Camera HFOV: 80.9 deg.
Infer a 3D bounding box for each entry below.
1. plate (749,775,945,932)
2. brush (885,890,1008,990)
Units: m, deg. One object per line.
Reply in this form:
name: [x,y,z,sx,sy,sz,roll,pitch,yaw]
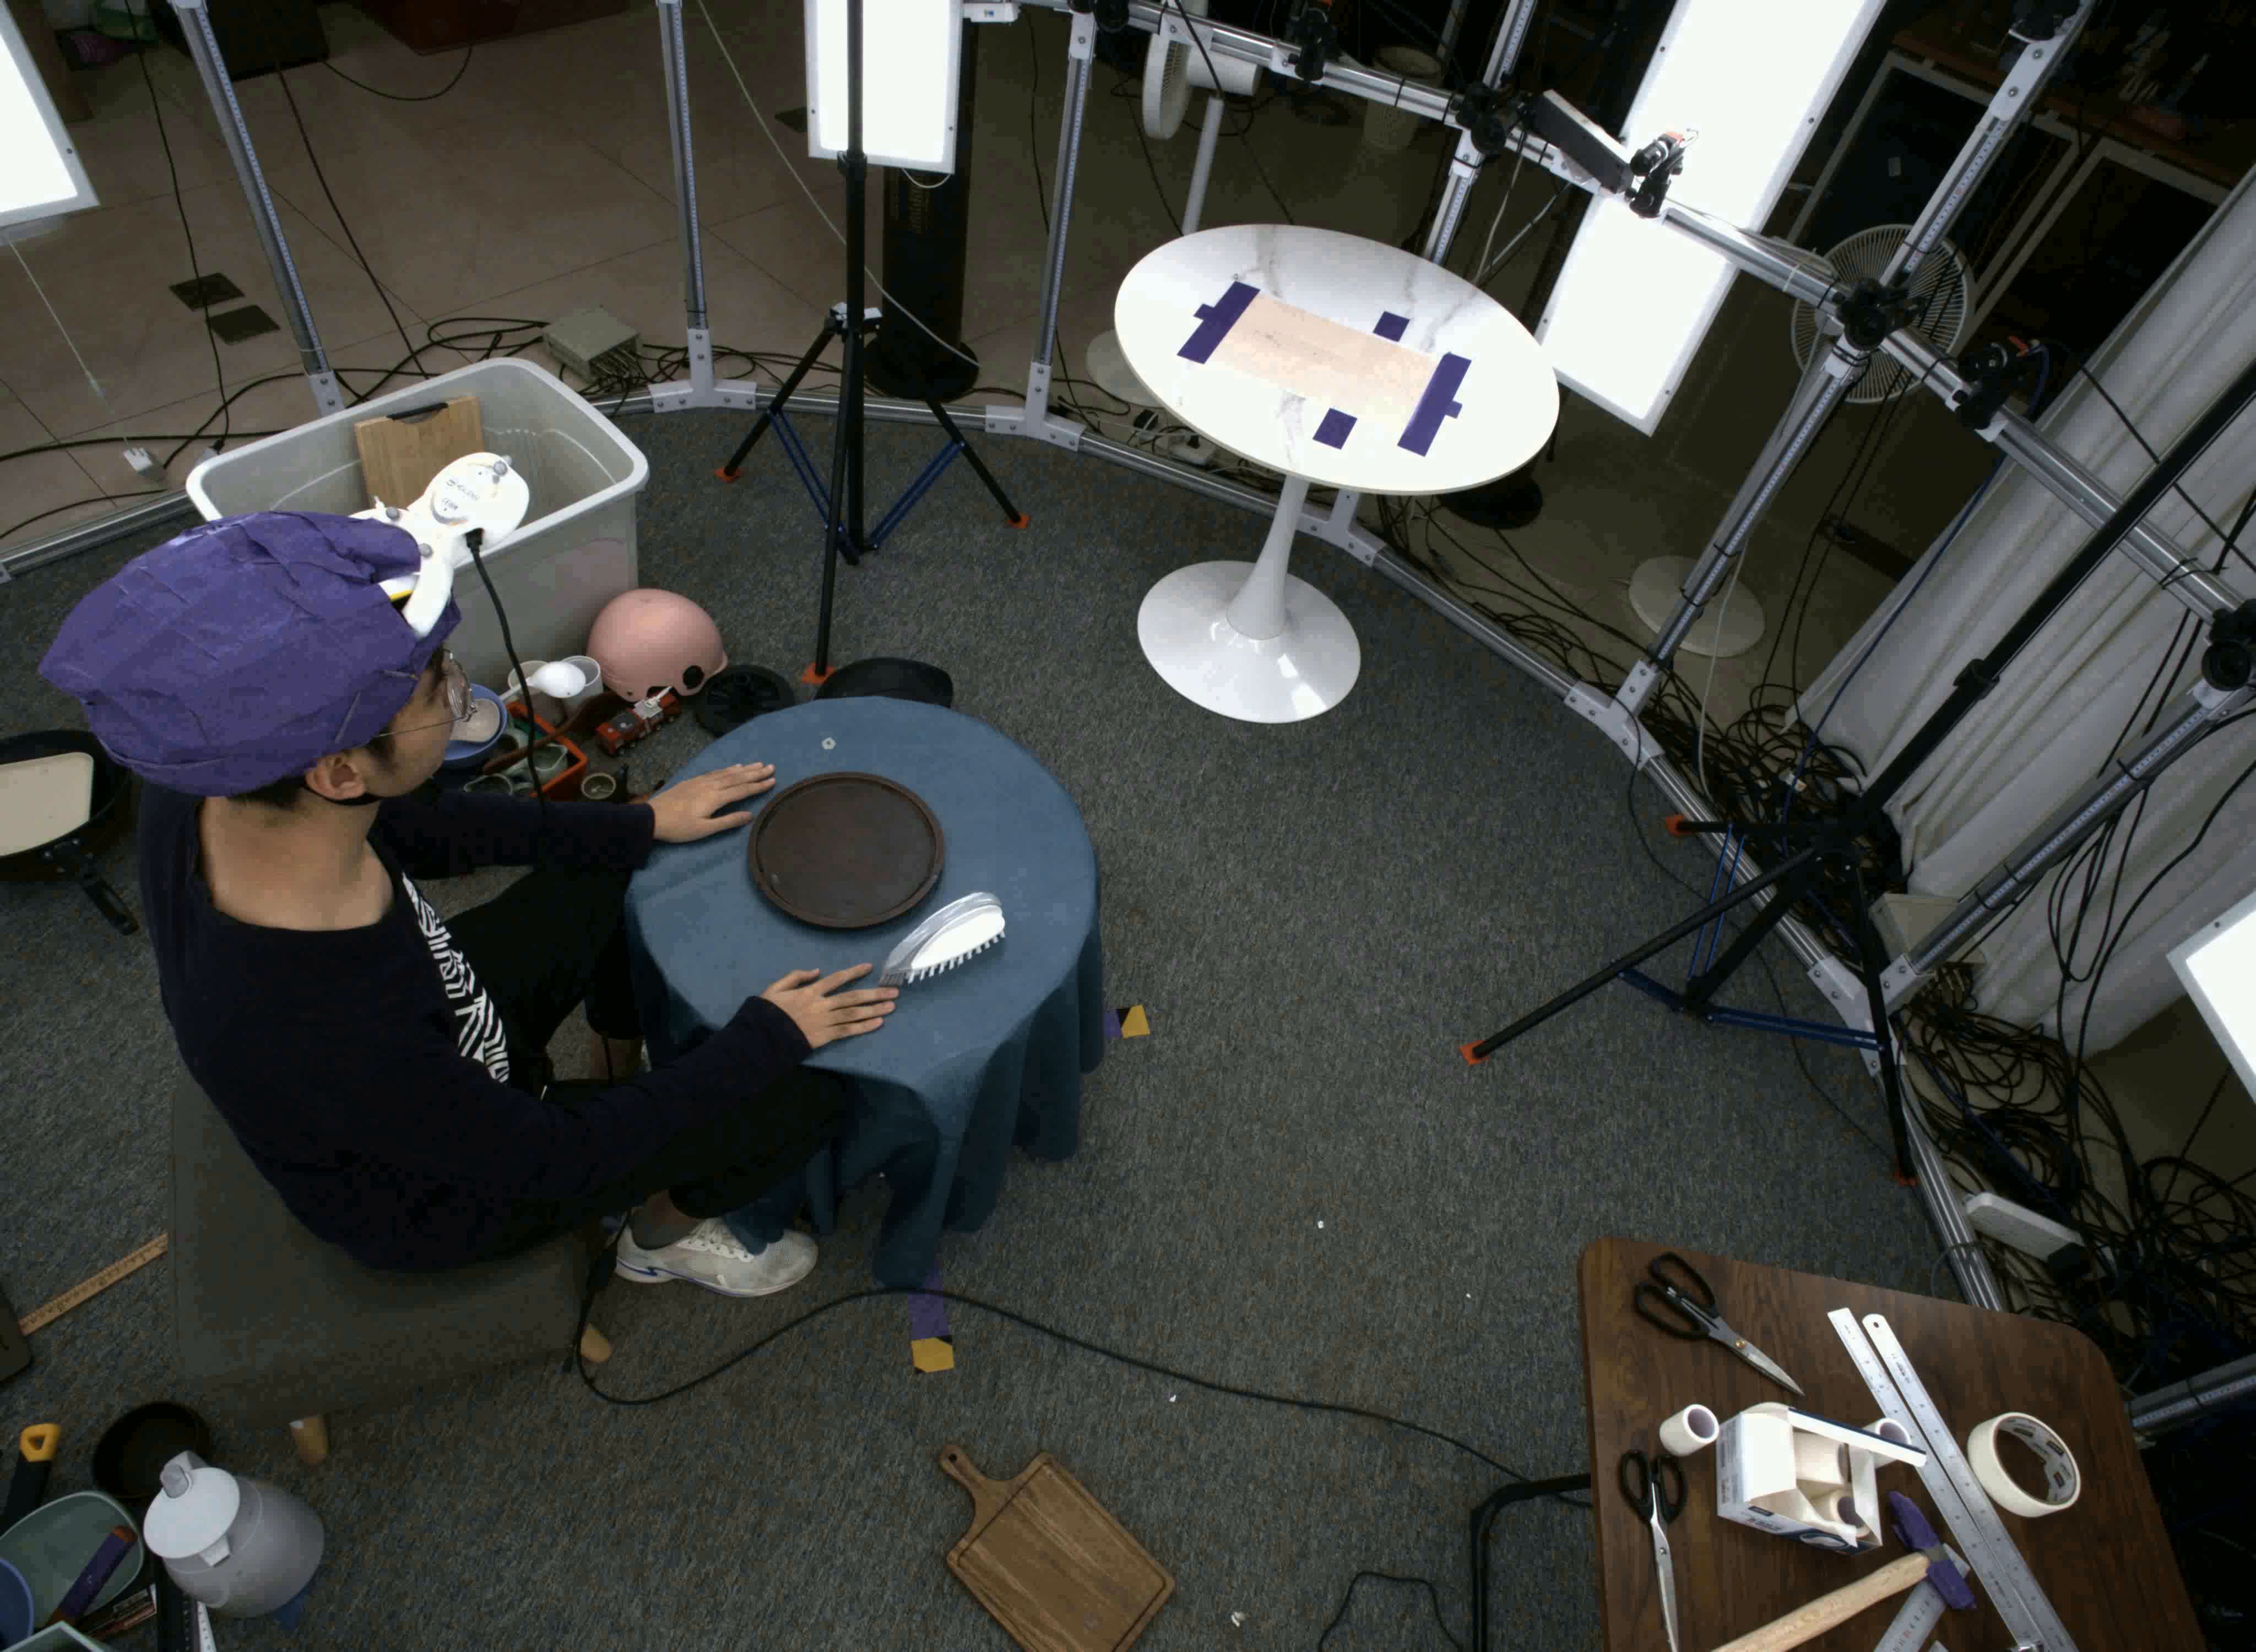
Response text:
plate: [-0.367,0.033,1.701,0.254,0.029,0.250,8,52,-9]
brush: [-0.229,0.135,1.614,0.176,0.096,0.060,-30,62,-27]
